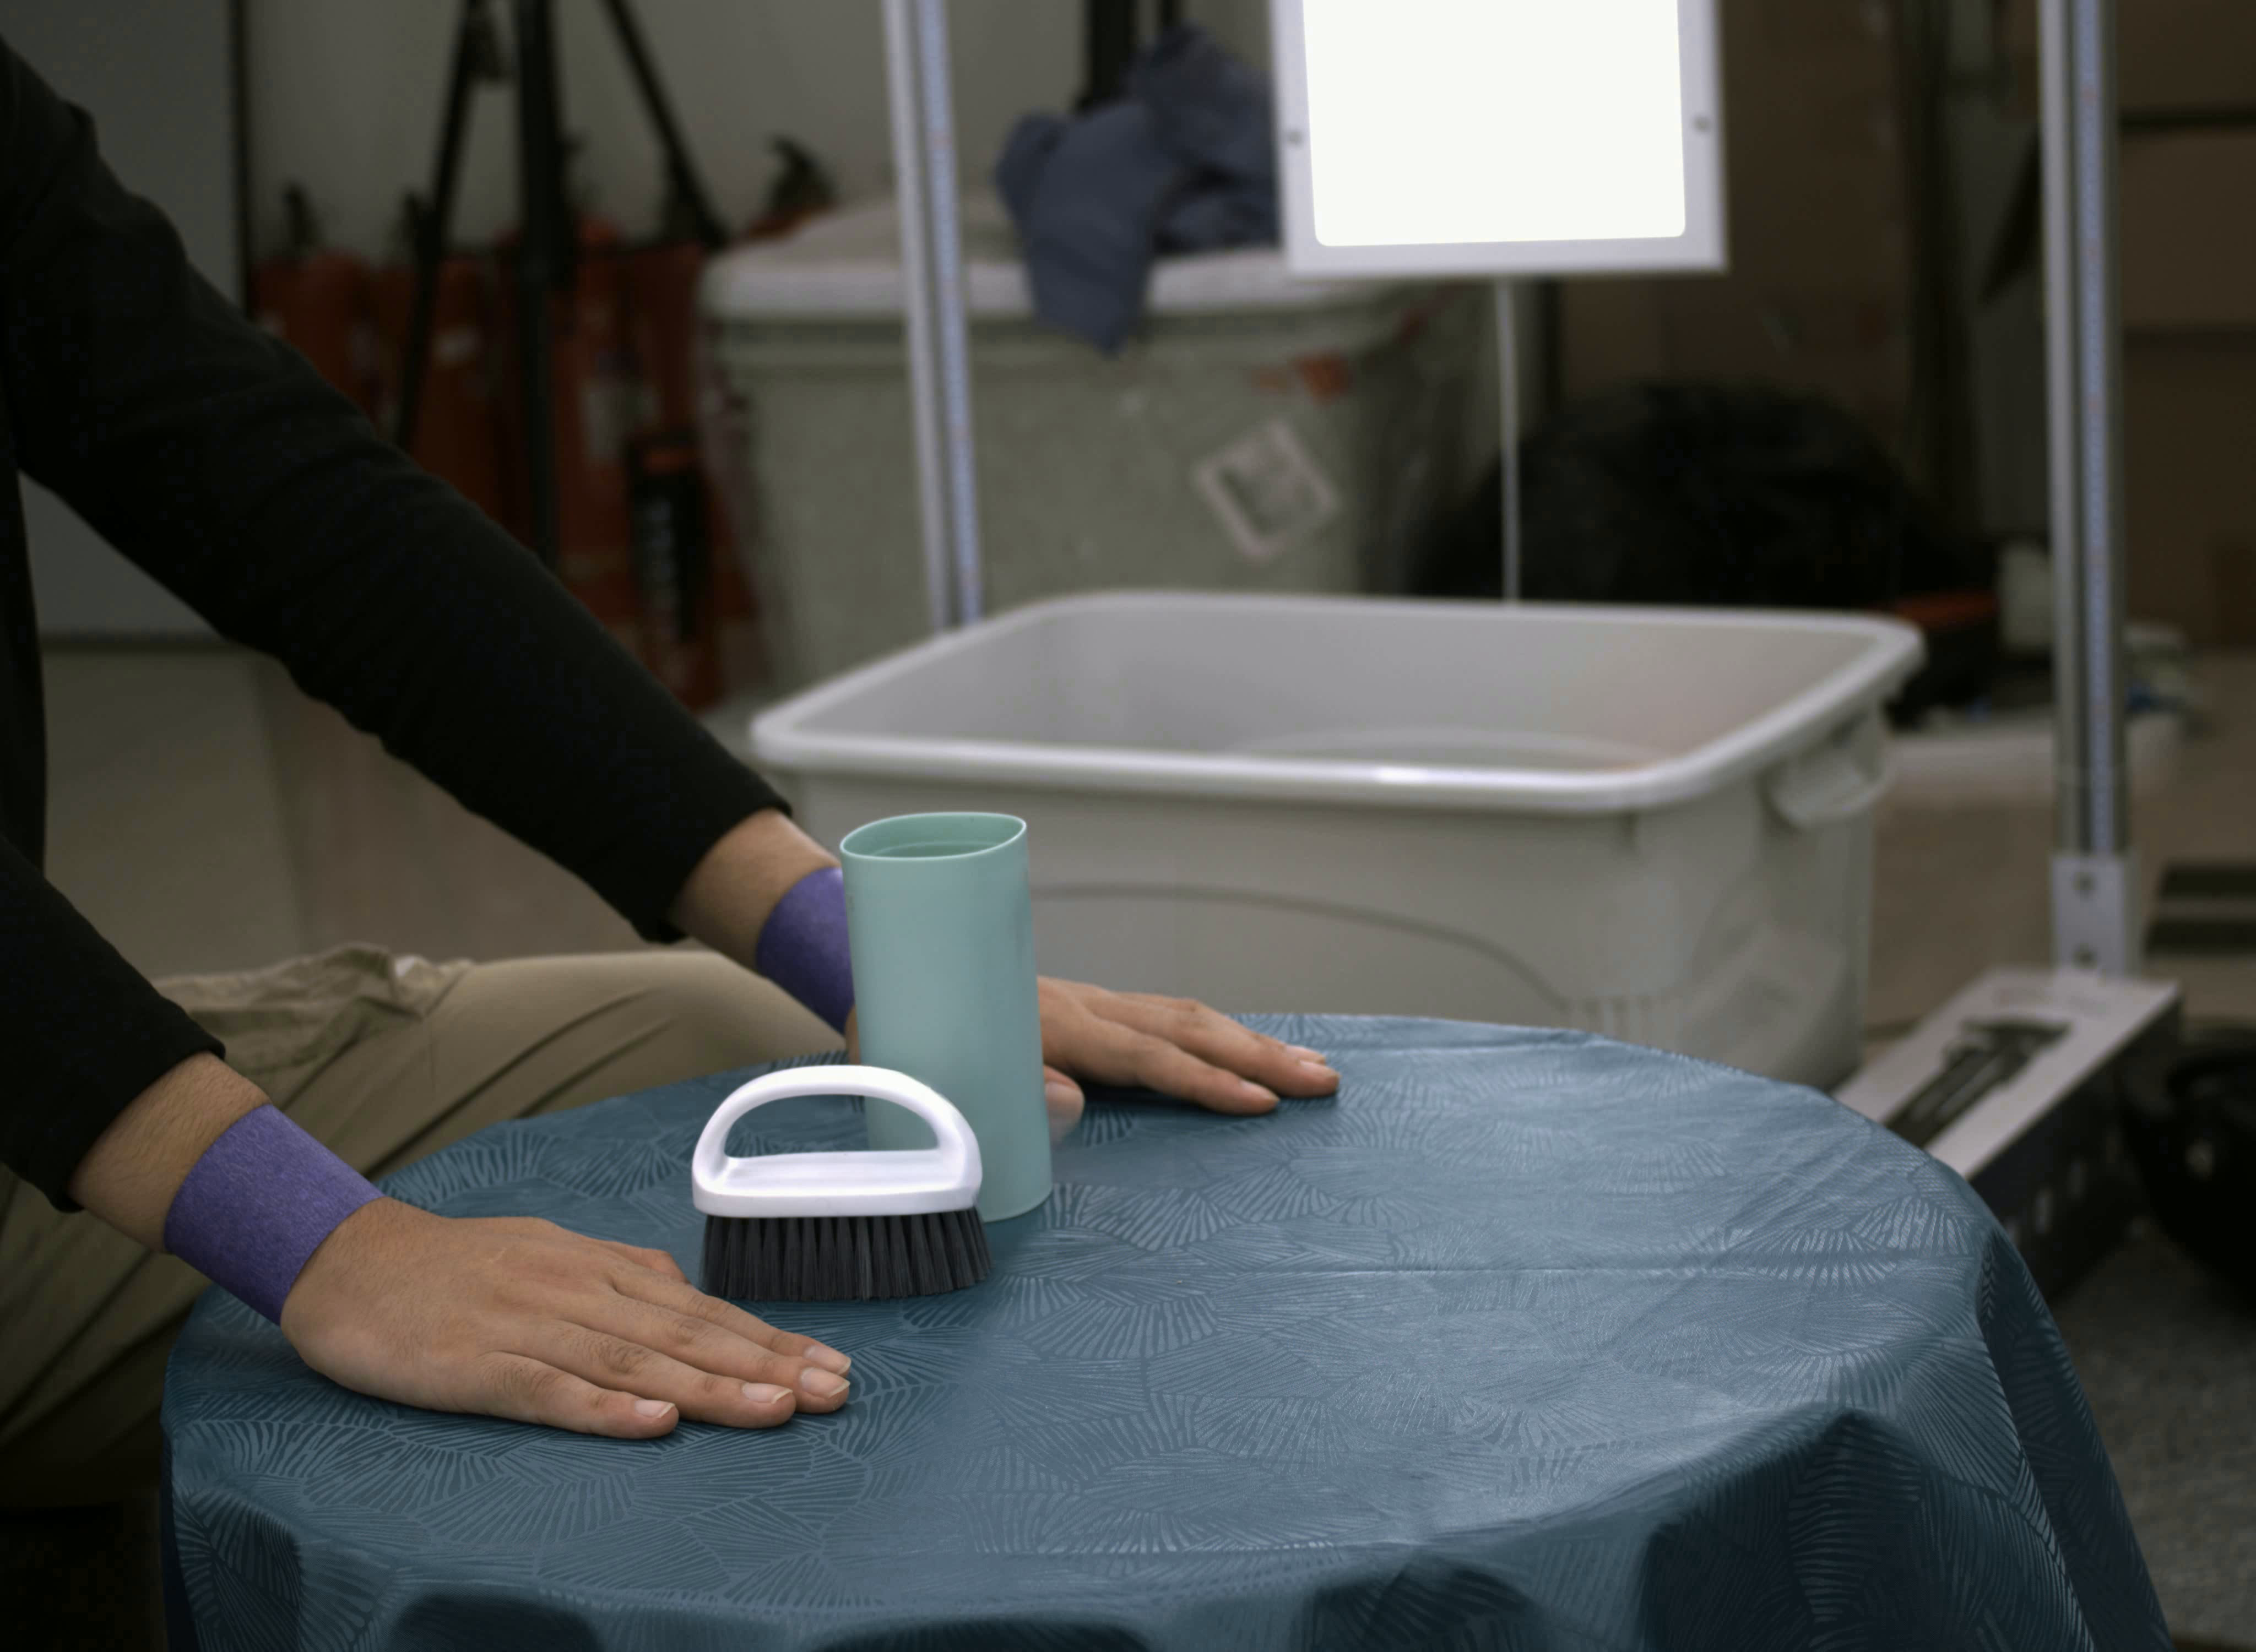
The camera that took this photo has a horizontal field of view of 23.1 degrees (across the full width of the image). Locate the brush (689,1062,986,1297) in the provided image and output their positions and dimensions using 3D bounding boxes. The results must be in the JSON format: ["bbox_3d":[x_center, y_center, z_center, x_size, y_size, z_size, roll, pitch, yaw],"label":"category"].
[{"bbox_3d":[-0.097,0.114,1.825,0.100,0.073,0.049,0,13,14],"label":"brush"}]

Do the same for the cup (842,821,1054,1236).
[{"bbox_3d":[-0.062,0.069,1.893,0.066,0.133,0.066,-4,14,0],"label":"cup"}]
